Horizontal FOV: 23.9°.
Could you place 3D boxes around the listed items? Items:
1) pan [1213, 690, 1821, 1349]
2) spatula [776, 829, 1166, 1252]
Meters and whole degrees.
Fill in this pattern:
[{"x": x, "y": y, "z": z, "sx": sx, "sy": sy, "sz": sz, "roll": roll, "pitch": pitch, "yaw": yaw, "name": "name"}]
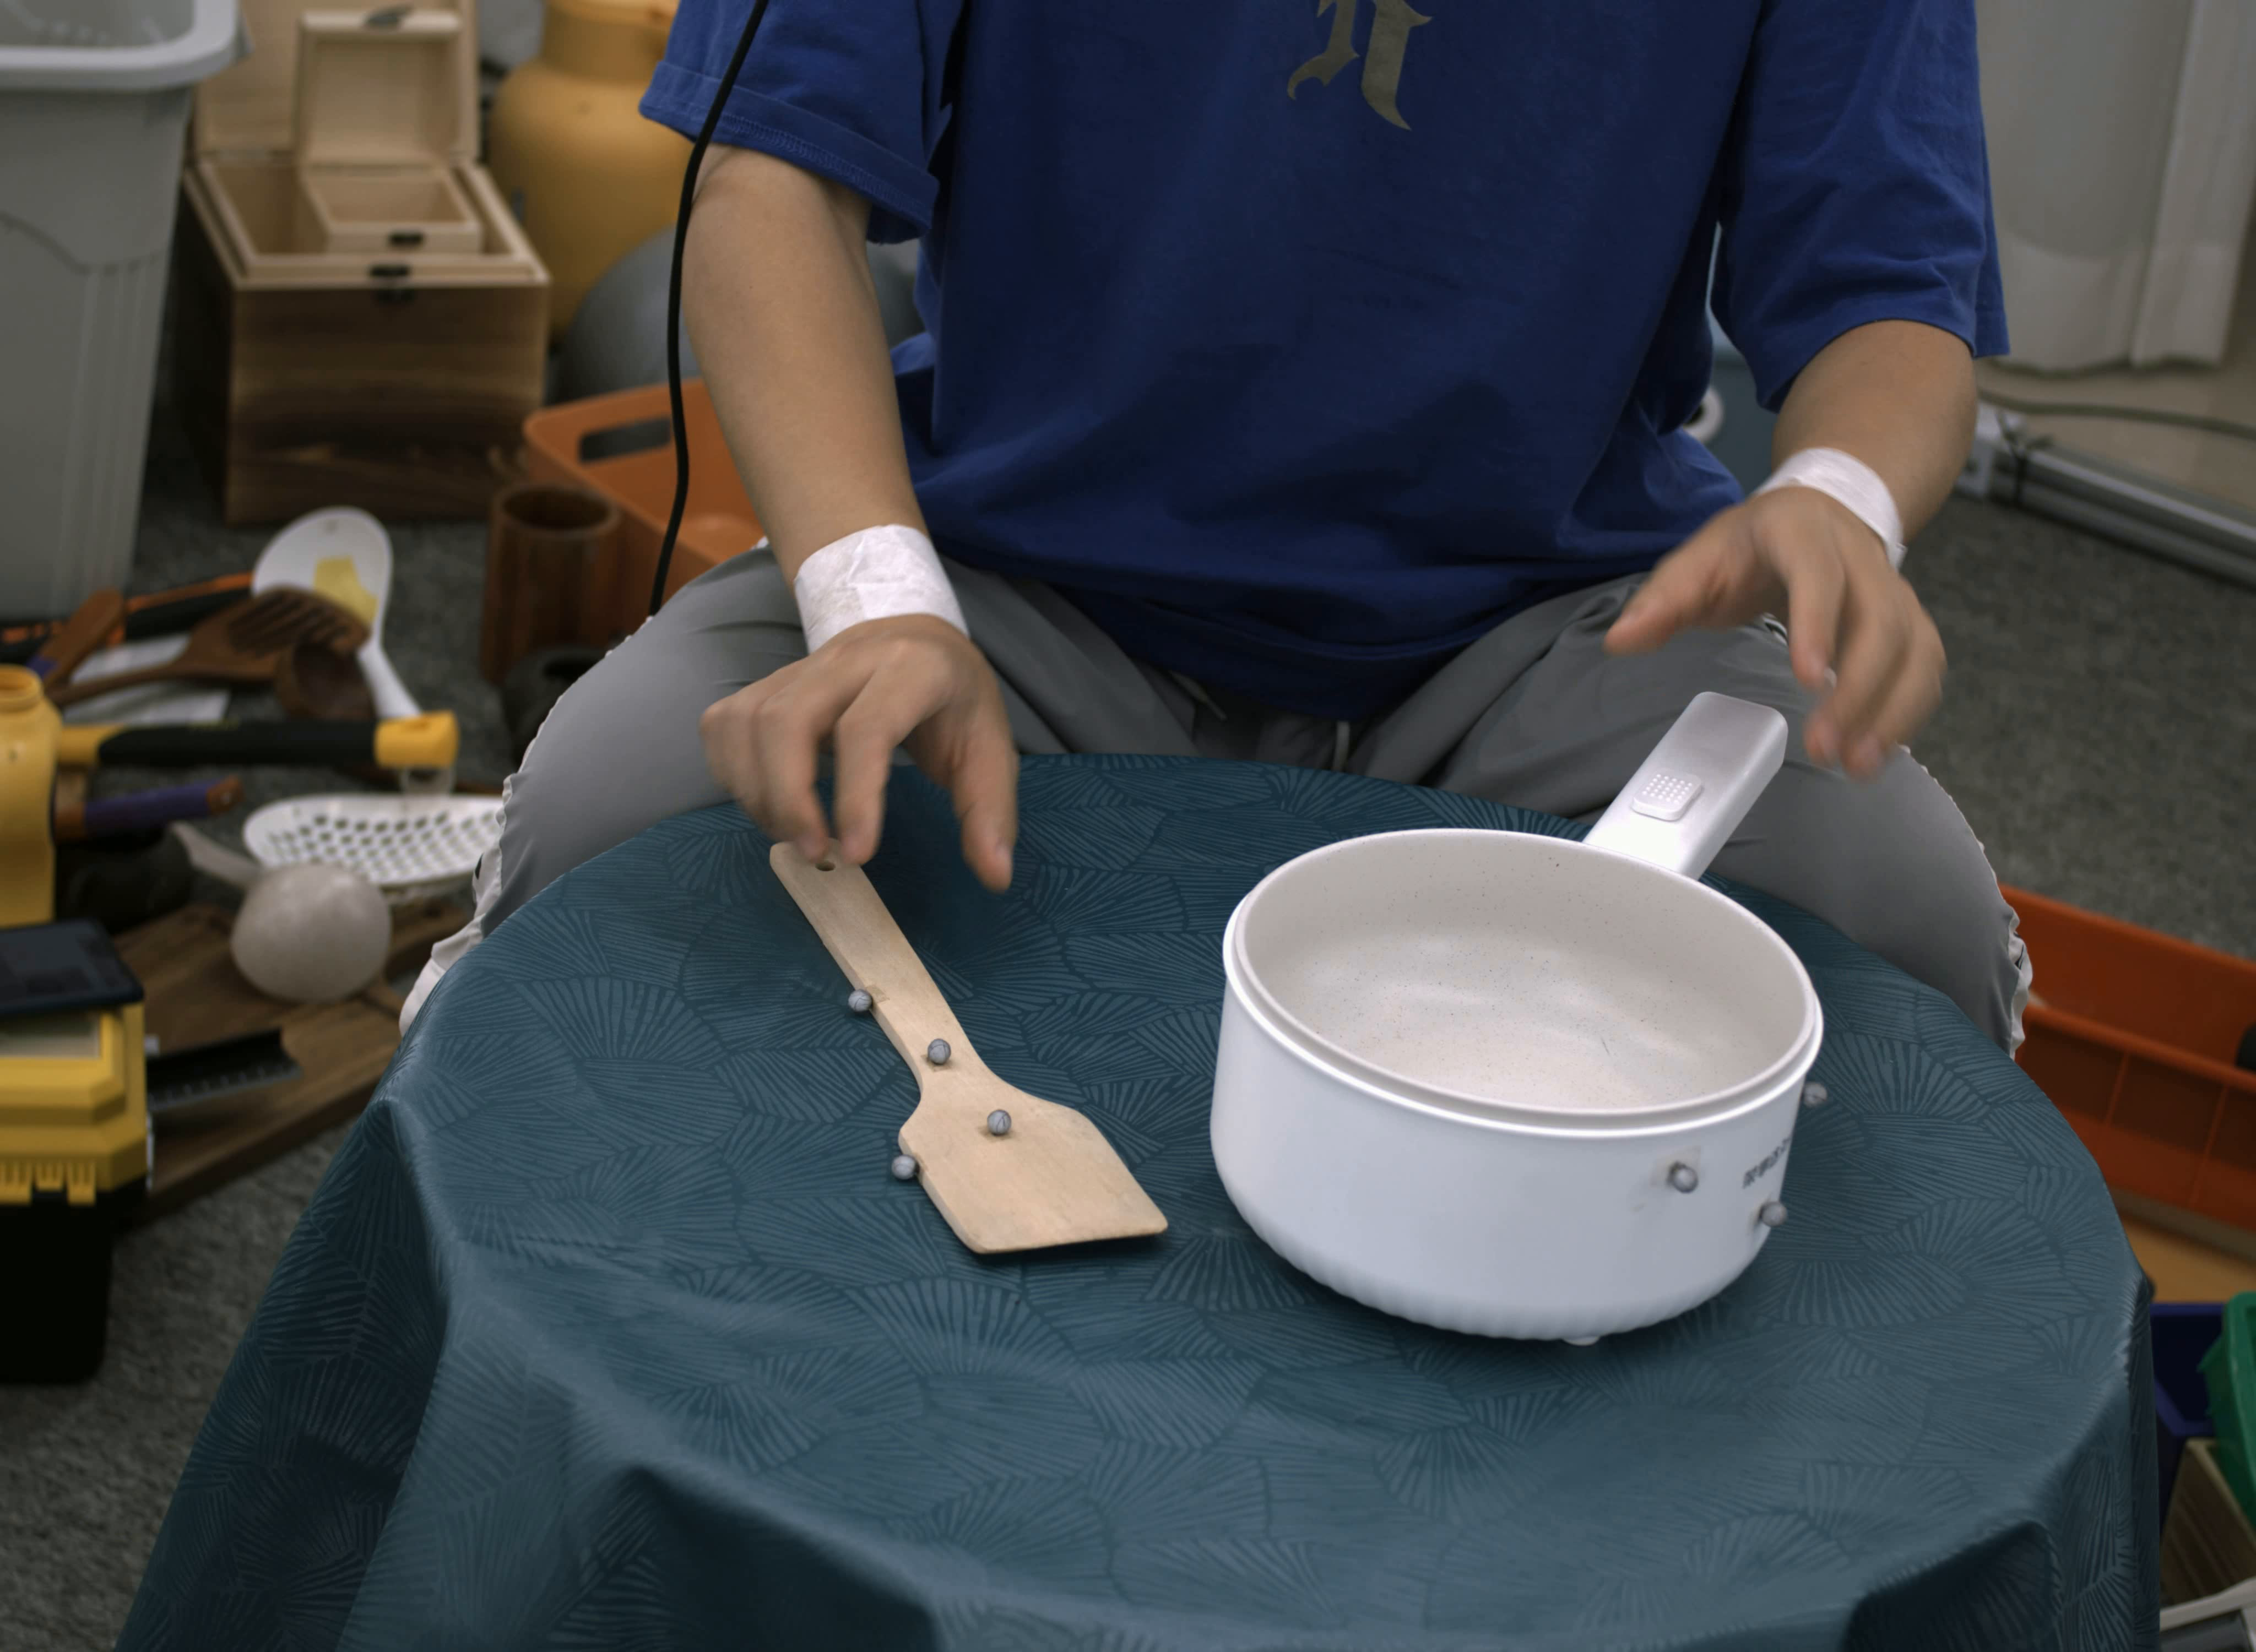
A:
[{"x": 0.156, "y": 0.062, "z": 1.853, "sx": 0.202, "sy": 0.102, "sz": 0.355, "roll": 14, "pitch": 28, "yaw": 19, "name": "pan"}, {"x": -0.070, "y": 0.072, "z": 1.879, "sx": 0.072, "sy": 0.010, "sz": 0.295, "roll": -6, "pitch": 30, "yaw": -21, "name": "spatula"}]
